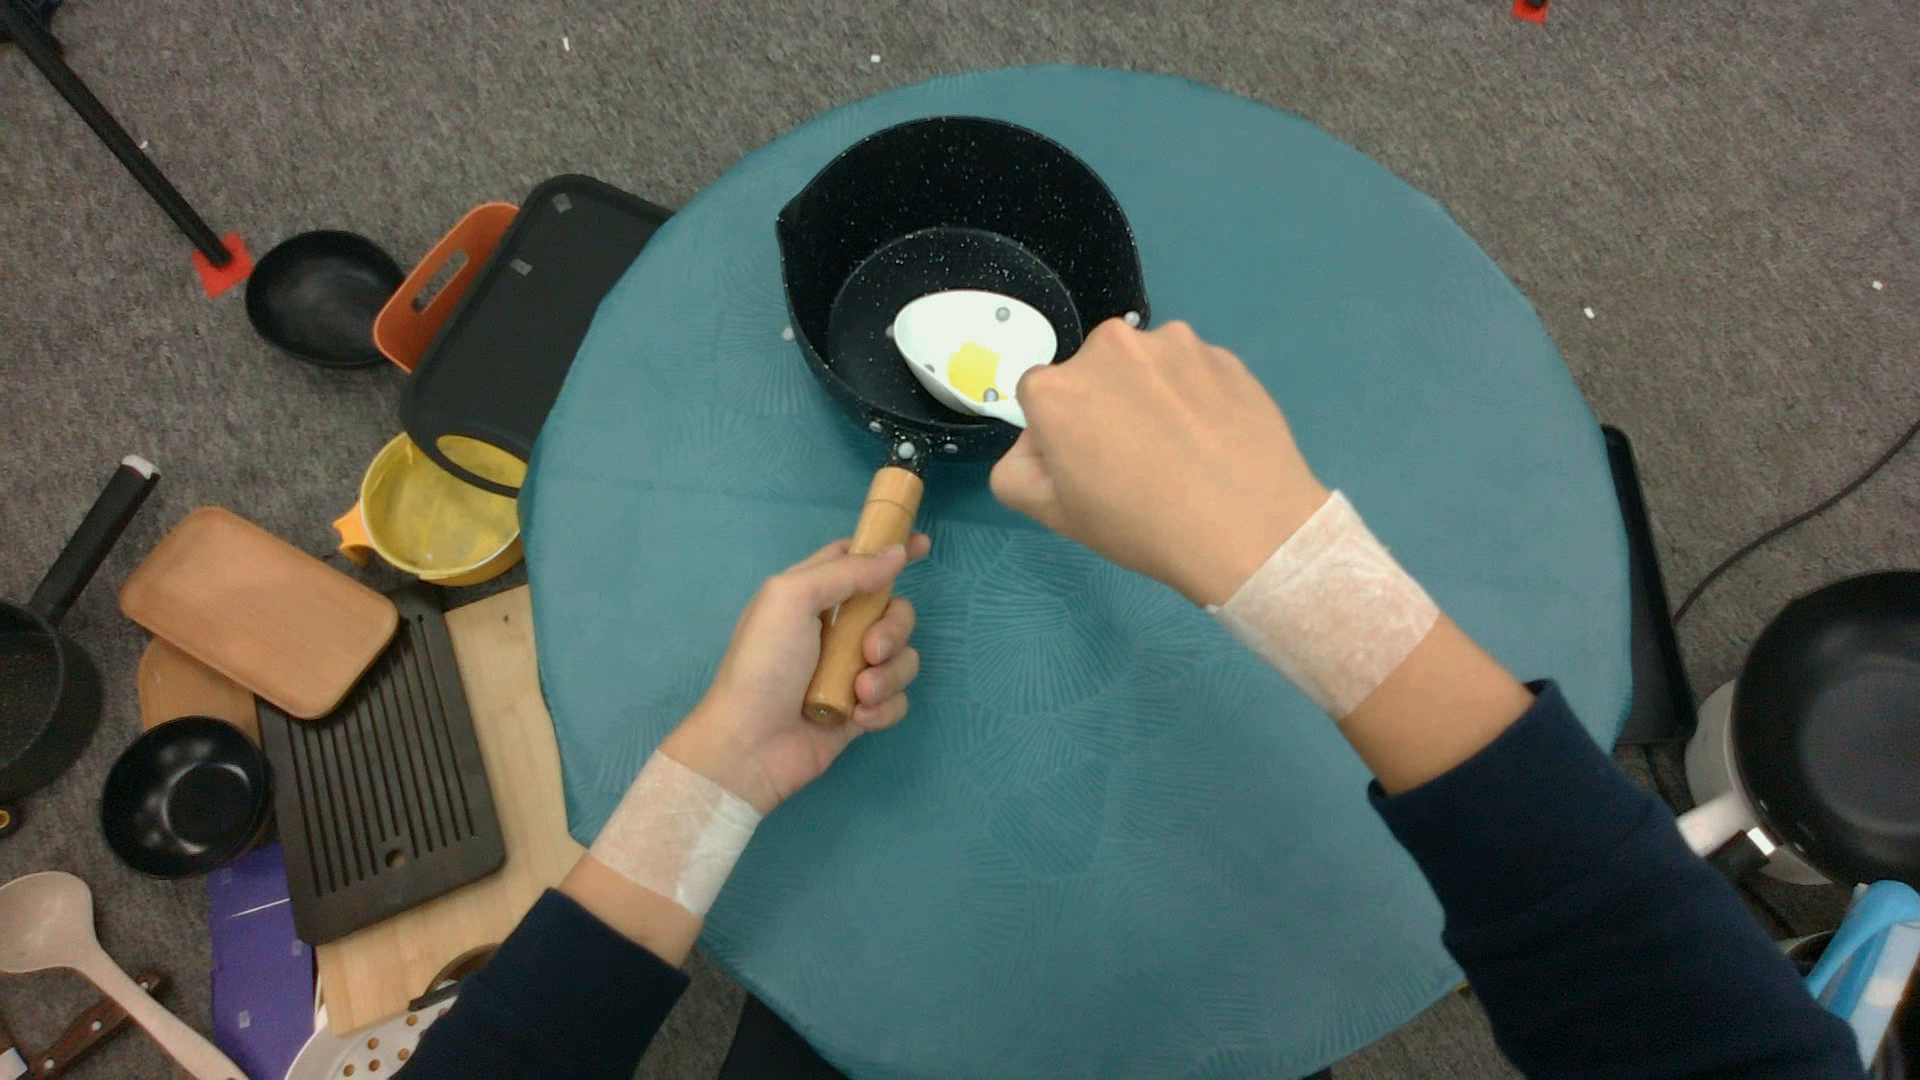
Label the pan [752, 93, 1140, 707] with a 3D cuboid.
[{"bbox_3d":[-0.026,-0.068,0.705,0.207,0.108,0.344,14,69,0],"label":"pan"}]

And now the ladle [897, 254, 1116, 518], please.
[{"bbox_3d":[0.025,-0.083,0.643,0.090,0.293,0.070,10,105,-12],"label":"ladle"}]
